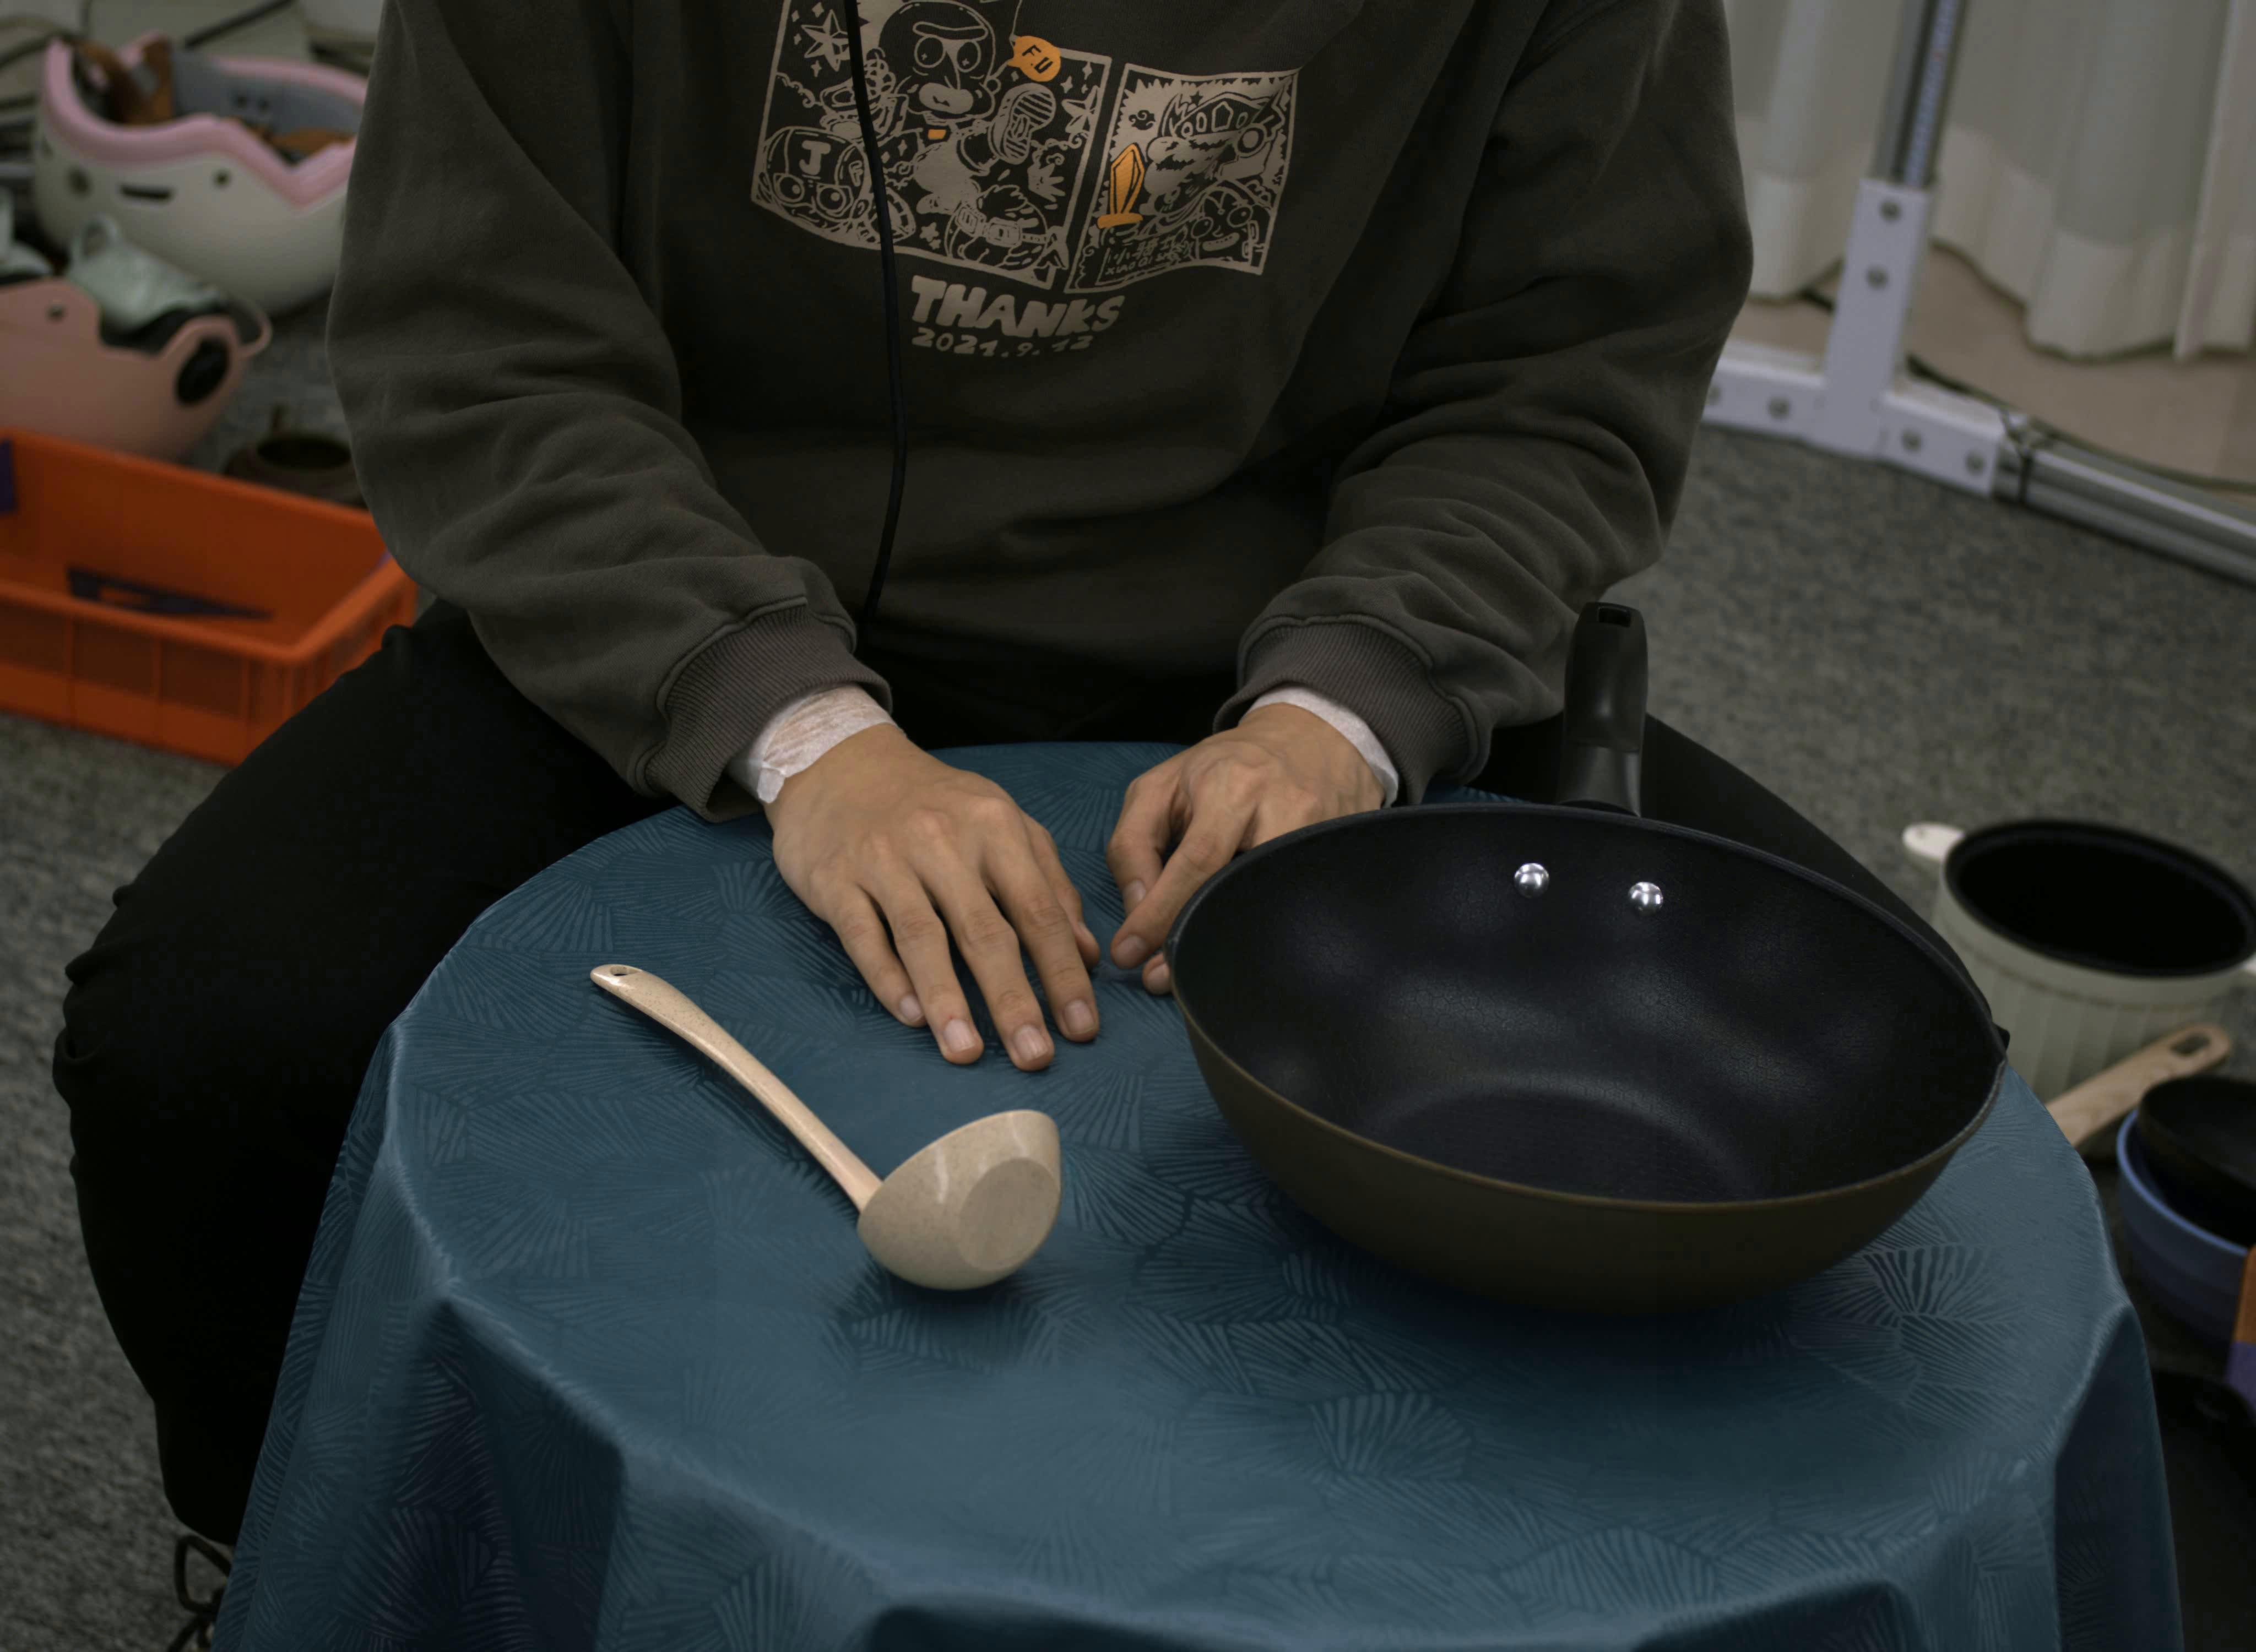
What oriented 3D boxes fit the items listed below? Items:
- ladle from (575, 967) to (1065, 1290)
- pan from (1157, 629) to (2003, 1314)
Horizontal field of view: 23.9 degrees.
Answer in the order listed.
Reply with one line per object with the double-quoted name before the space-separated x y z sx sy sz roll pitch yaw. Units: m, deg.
"ladle" -0.115 0.075 1.794 0.072 0.072 0.256 -19 36 -33
"pan" 0.158 0.051 1.892 0.287 0.086 0.465 8 25 4
